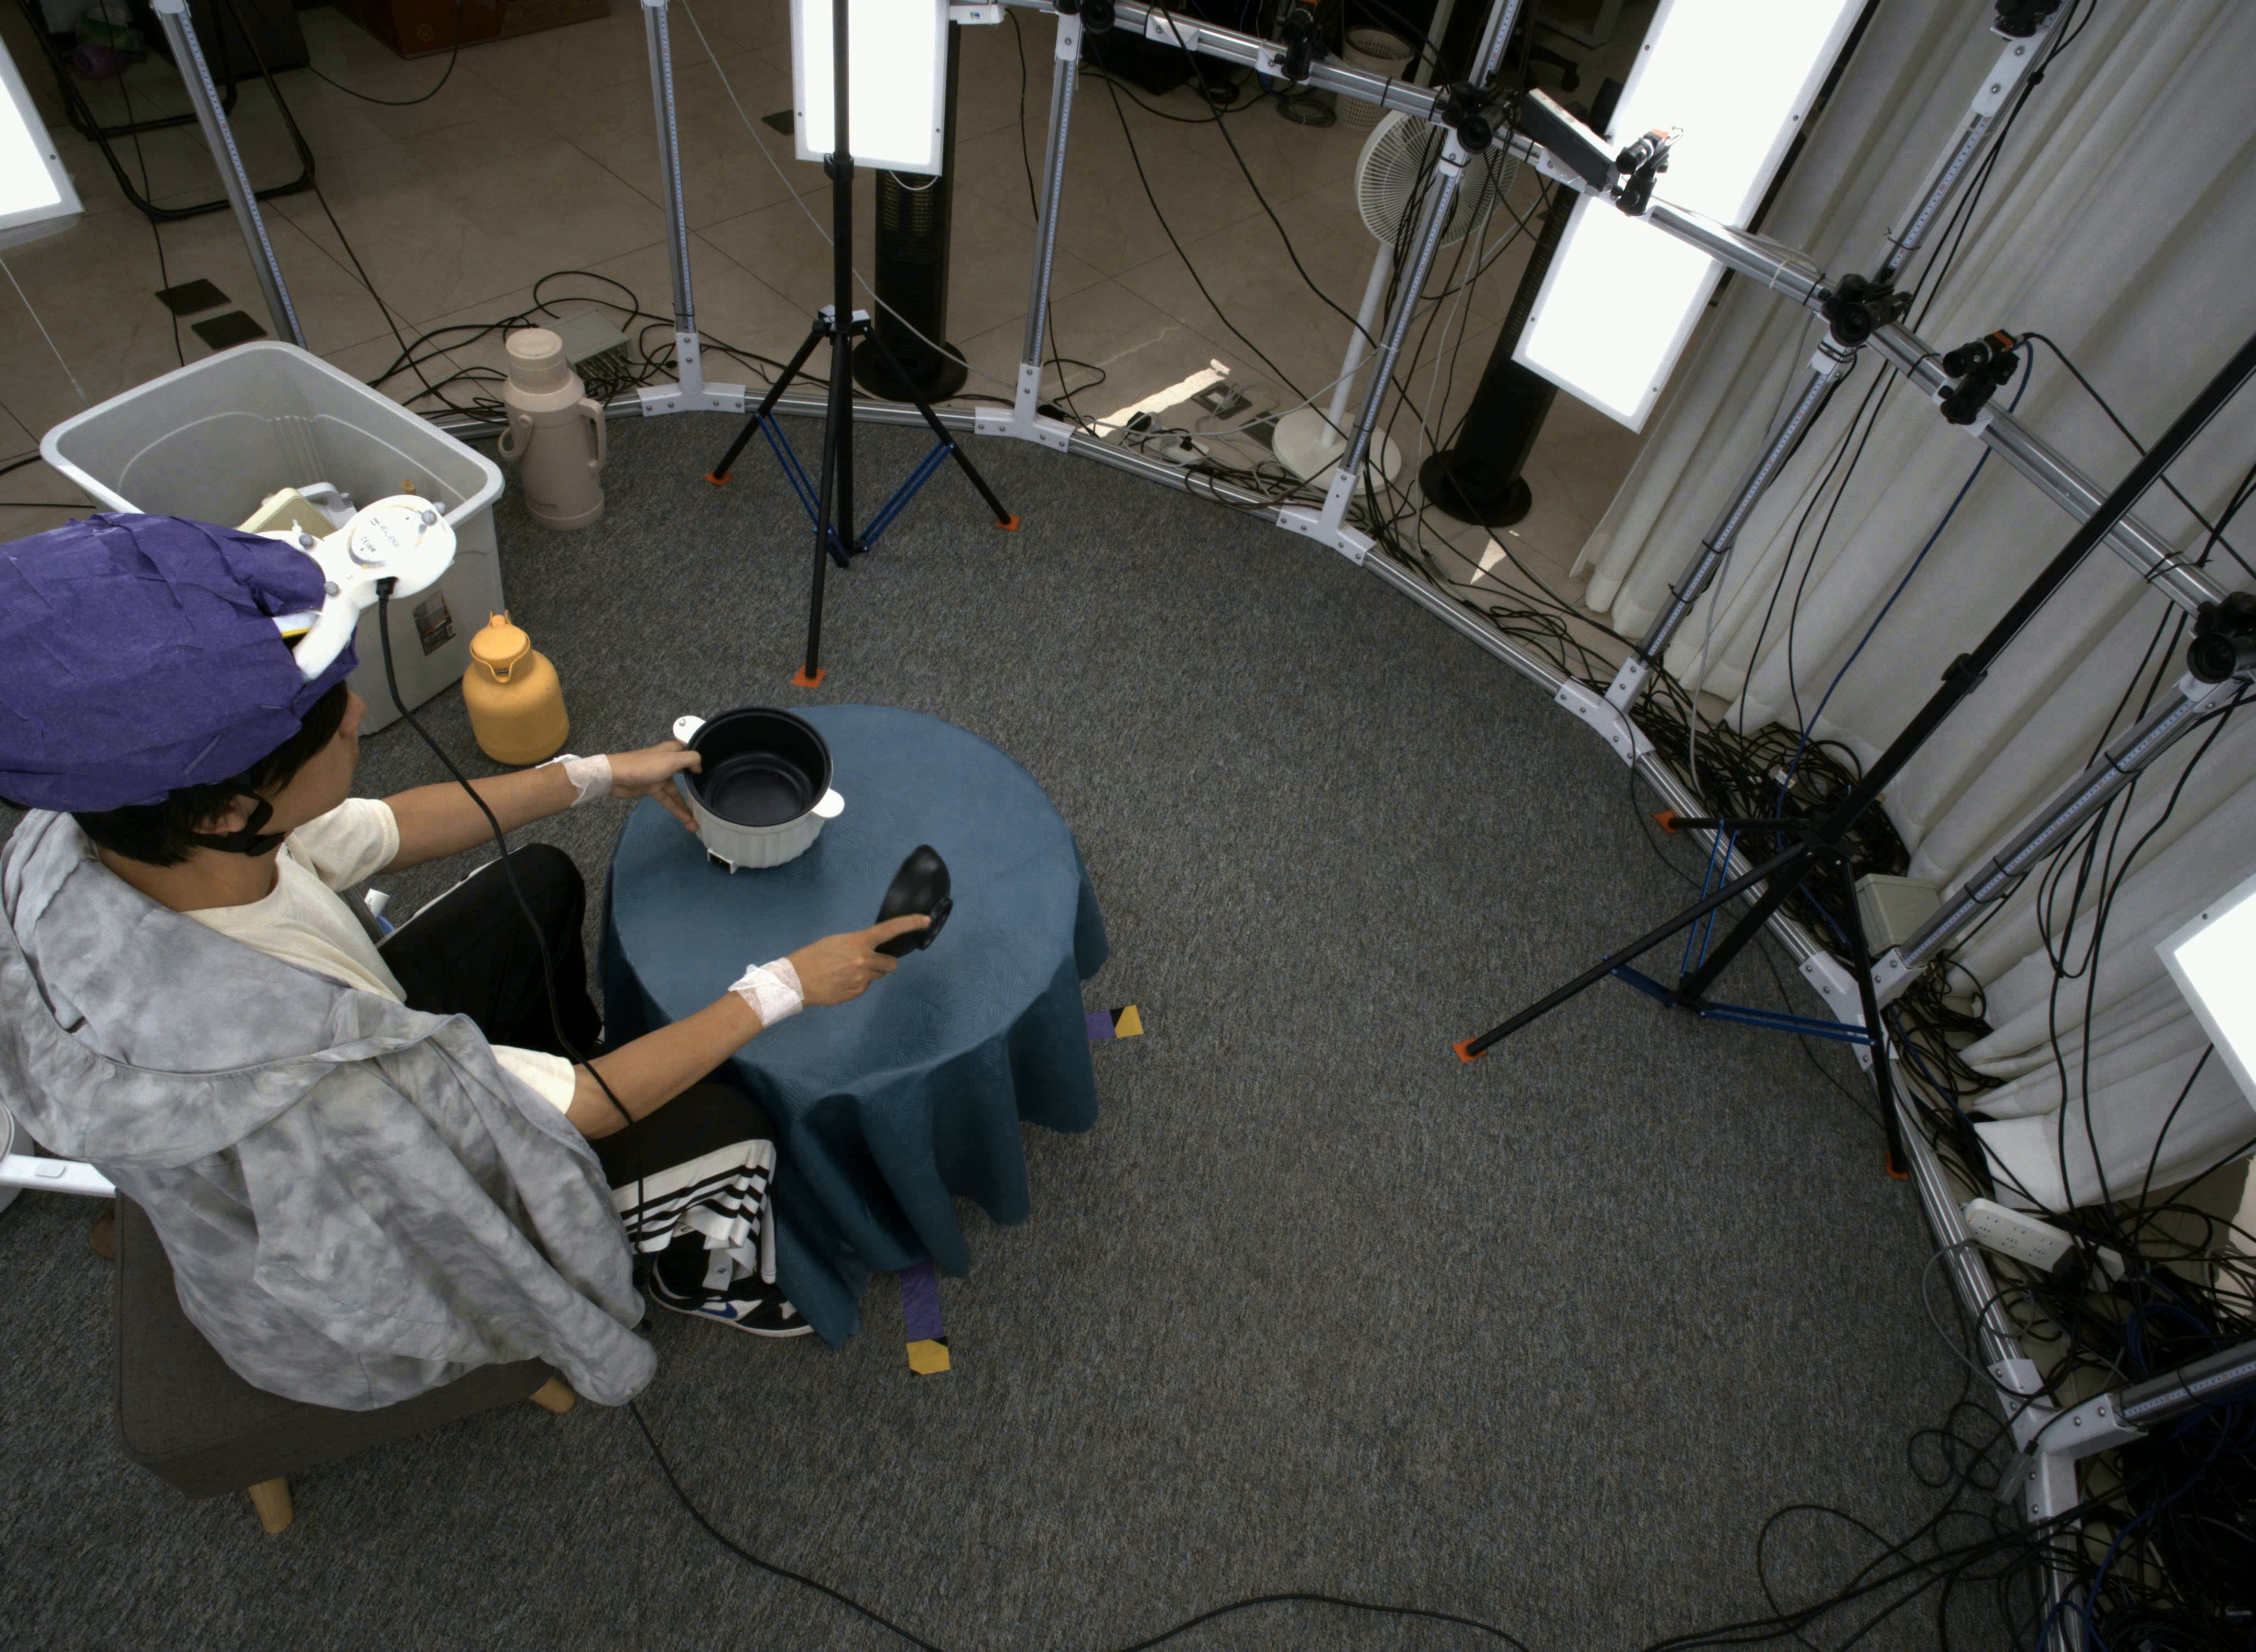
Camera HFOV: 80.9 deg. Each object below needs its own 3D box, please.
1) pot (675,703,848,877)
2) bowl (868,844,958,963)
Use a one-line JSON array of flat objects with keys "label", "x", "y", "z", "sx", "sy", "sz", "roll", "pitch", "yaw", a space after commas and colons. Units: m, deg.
[{"label": "pot", "x": -0.465, "y": -0.047, "z": 1.653, "sx": 0.239, "sy": 0.144, "sz": 0.189, "roll": 28, "pitch": 59, "yaw": 0}, {"label": "bowl", "x": -0.240, "y": 0.098, "z": 1.513, "sx": 0.066, "sy": 0.139, "sz": 0.169, "roll": 27, "pitch": 26, "yaw": 6}]
